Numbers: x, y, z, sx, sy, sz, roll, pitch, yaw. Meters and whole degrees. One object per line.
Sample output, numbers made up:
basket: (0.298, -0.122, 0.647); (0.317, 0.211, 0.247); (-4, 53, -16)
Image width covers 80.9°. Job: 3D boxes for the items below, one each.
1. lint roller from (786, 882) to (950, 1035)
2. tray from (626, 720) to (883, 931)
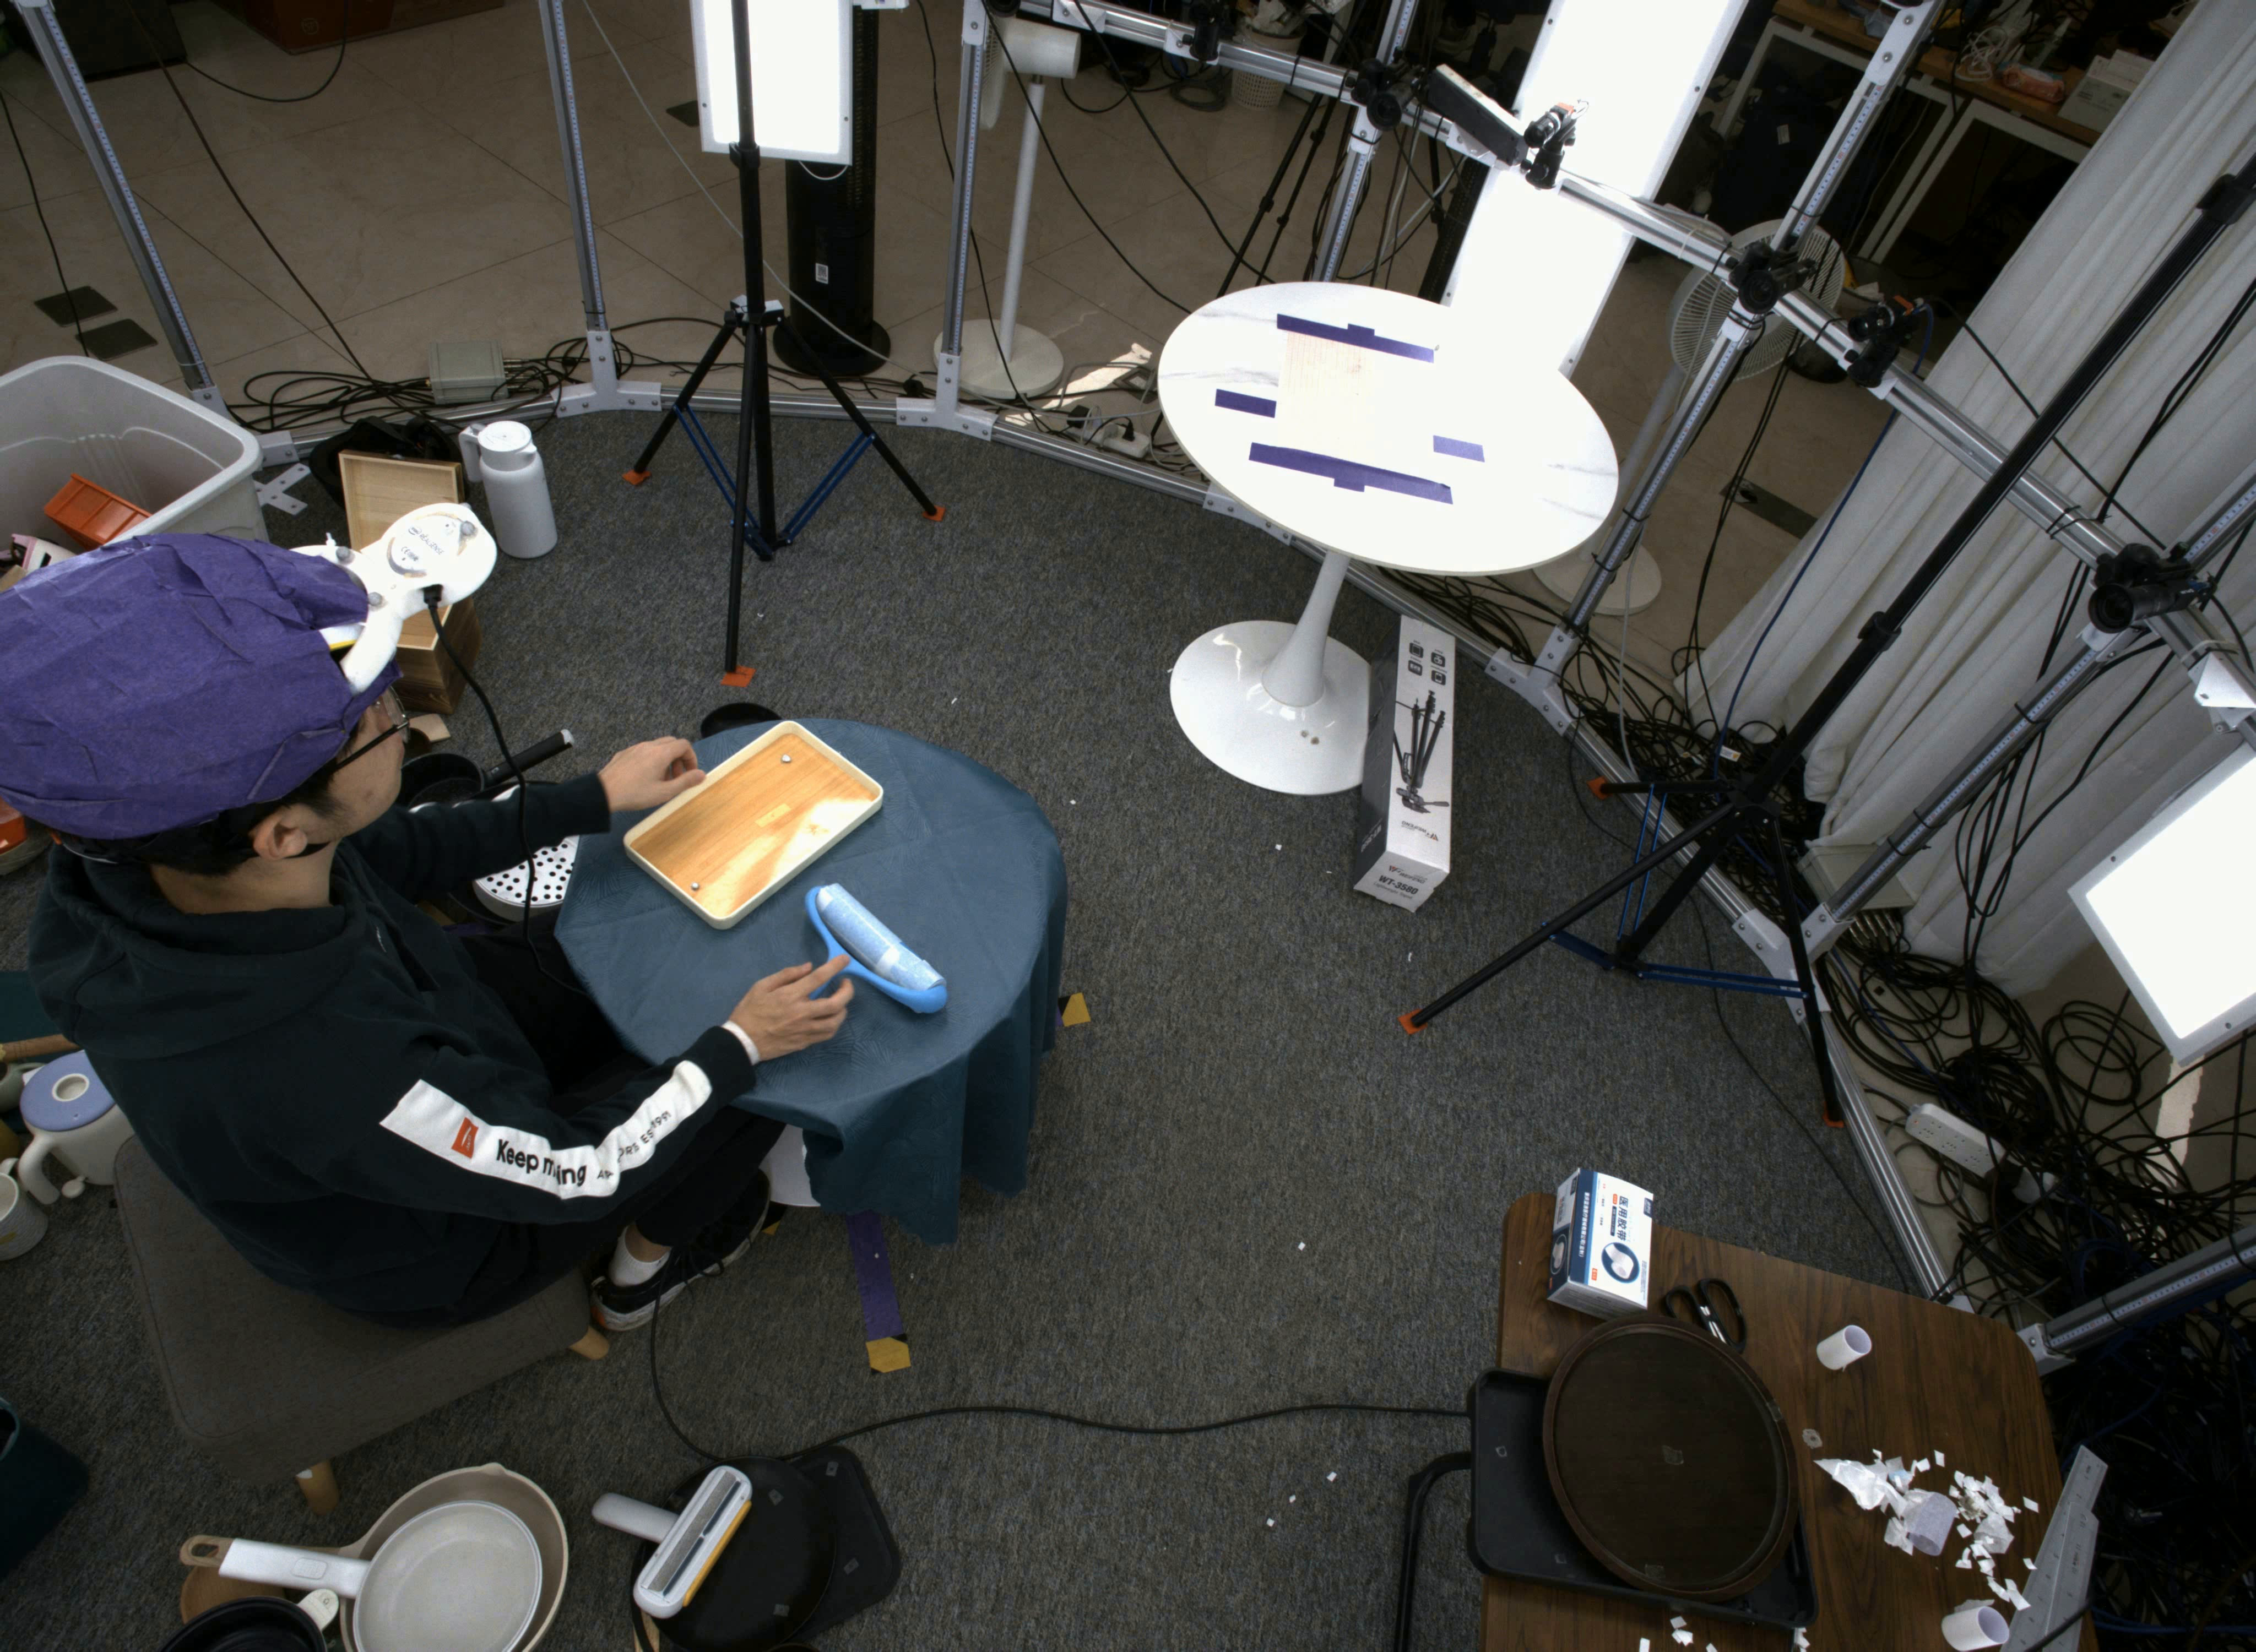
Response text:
lint roller: (-0.345, 0.179, 1.583); (0.225, 0.069, 0.180); (37, 53, 11)
tray: (-0.488, -0.009, 1.702); (0.188, 0.028, 0.300); (36, 54, 13)
